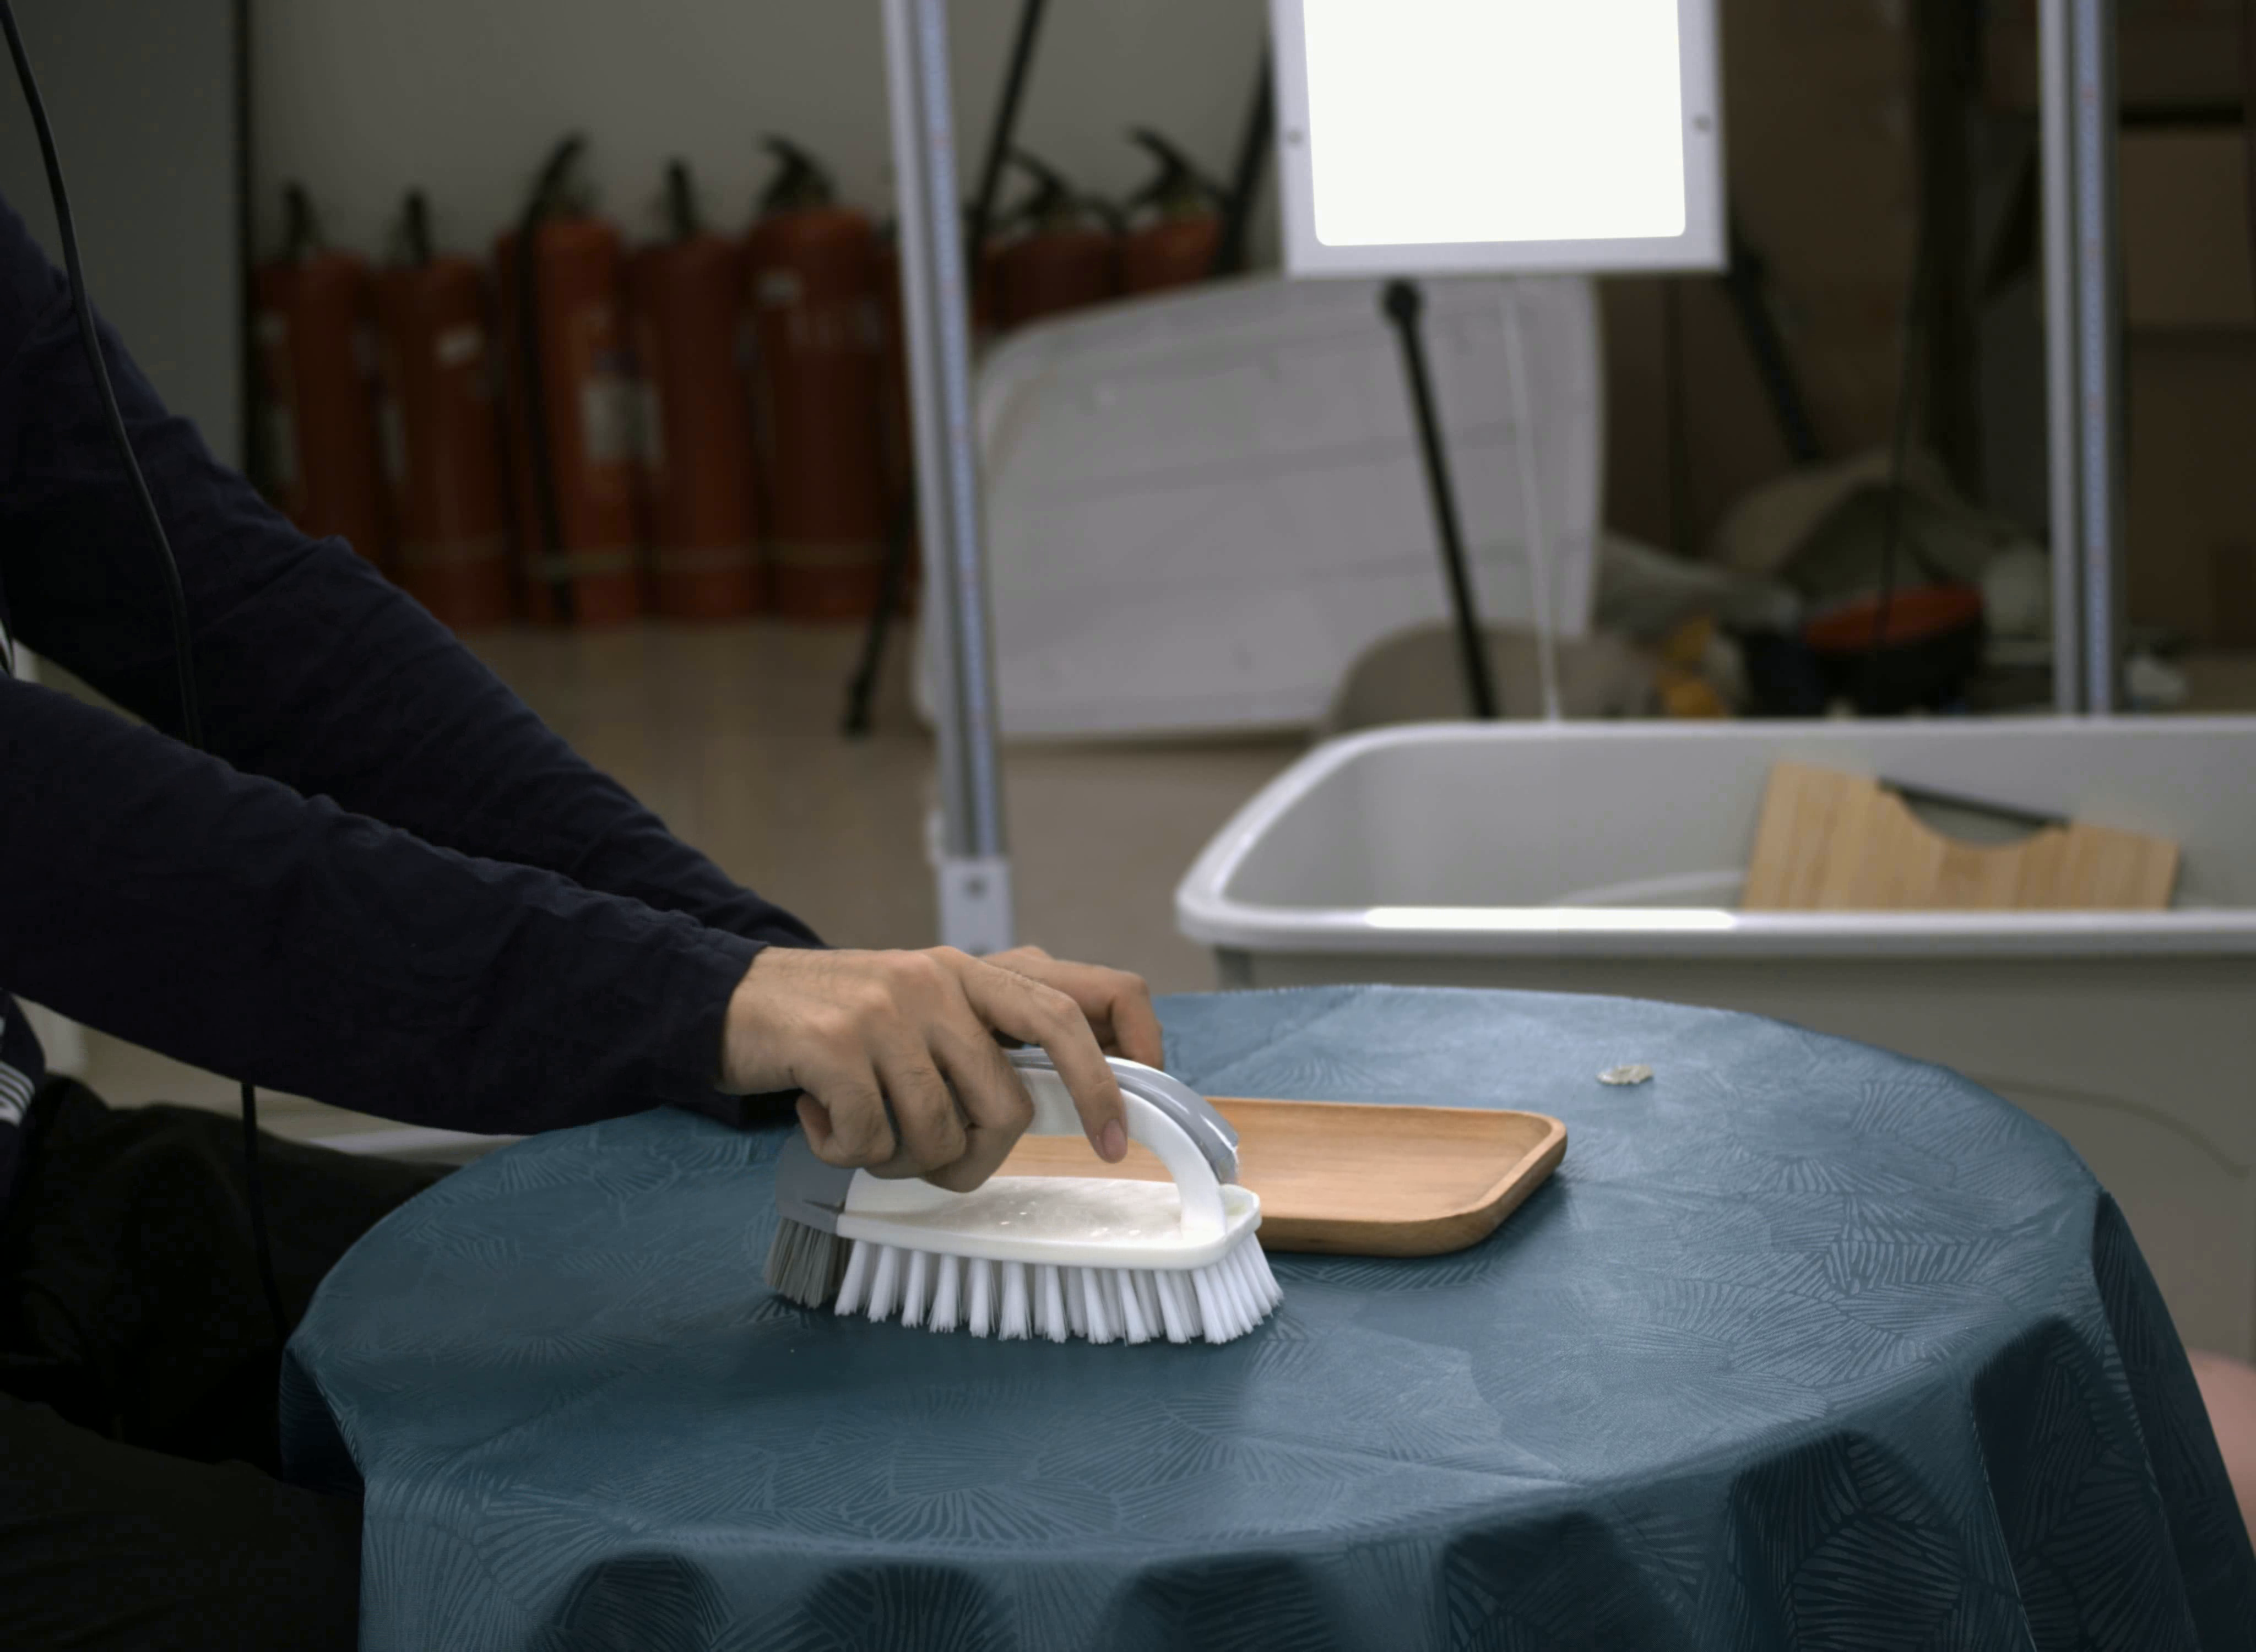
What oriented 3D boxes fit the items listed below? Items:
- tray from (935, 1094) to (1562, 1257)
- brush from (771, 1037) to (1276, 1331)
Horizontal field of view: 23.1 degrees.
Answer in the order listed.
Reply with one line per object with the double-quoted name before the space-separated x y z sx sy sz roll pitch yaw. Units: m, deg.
"tray" 0.019 0.118 1.894 0.255 0.023 0.128 0 12 26
"brush" -0.042 0.114 1.772 0.178 0.094 0.060 0 15 27
